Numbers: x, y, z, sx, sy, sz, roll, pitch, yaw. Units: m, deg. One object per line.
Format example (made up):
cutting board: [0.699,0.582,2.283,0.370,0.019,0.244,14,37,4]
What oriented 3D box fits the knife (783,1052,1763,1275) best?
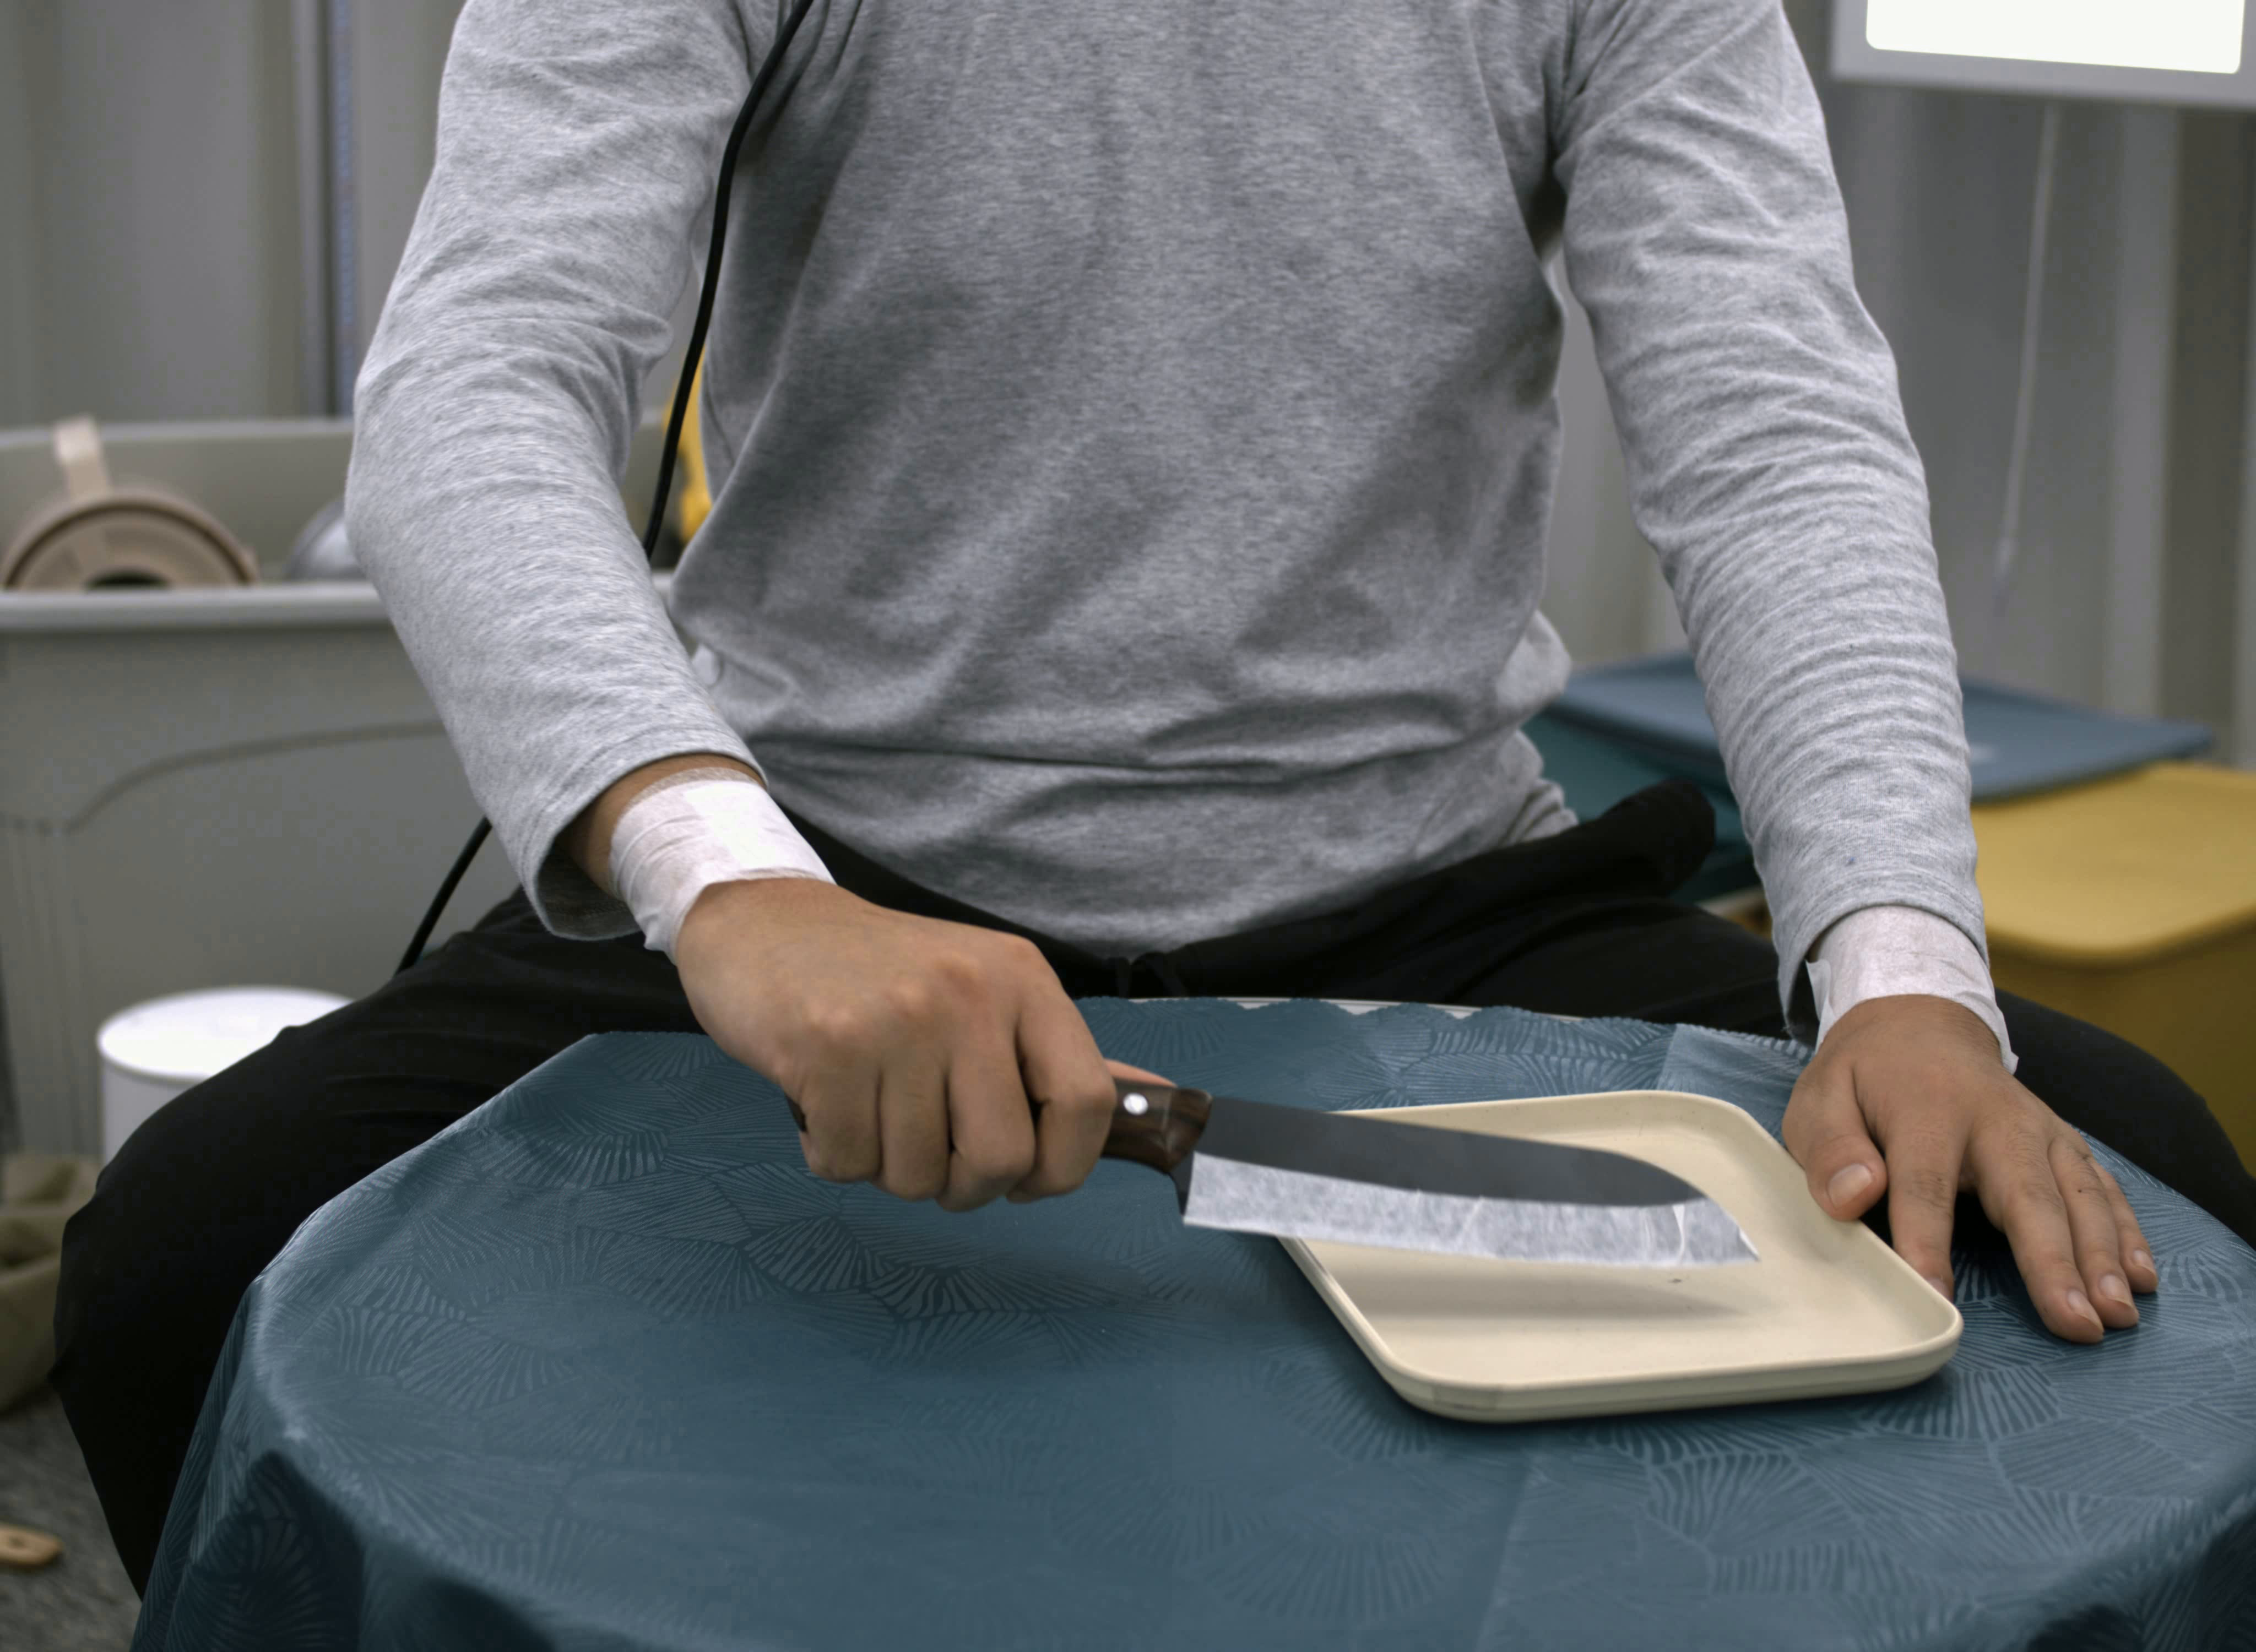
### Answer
knife: [0.041,0.098,1.518,0.288,0.020,0.050,10,57,1]

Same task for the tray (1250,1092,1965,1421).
tray: [0.132,0.125,1.551,0.171,0.017,0.237,-2,15,-12]
